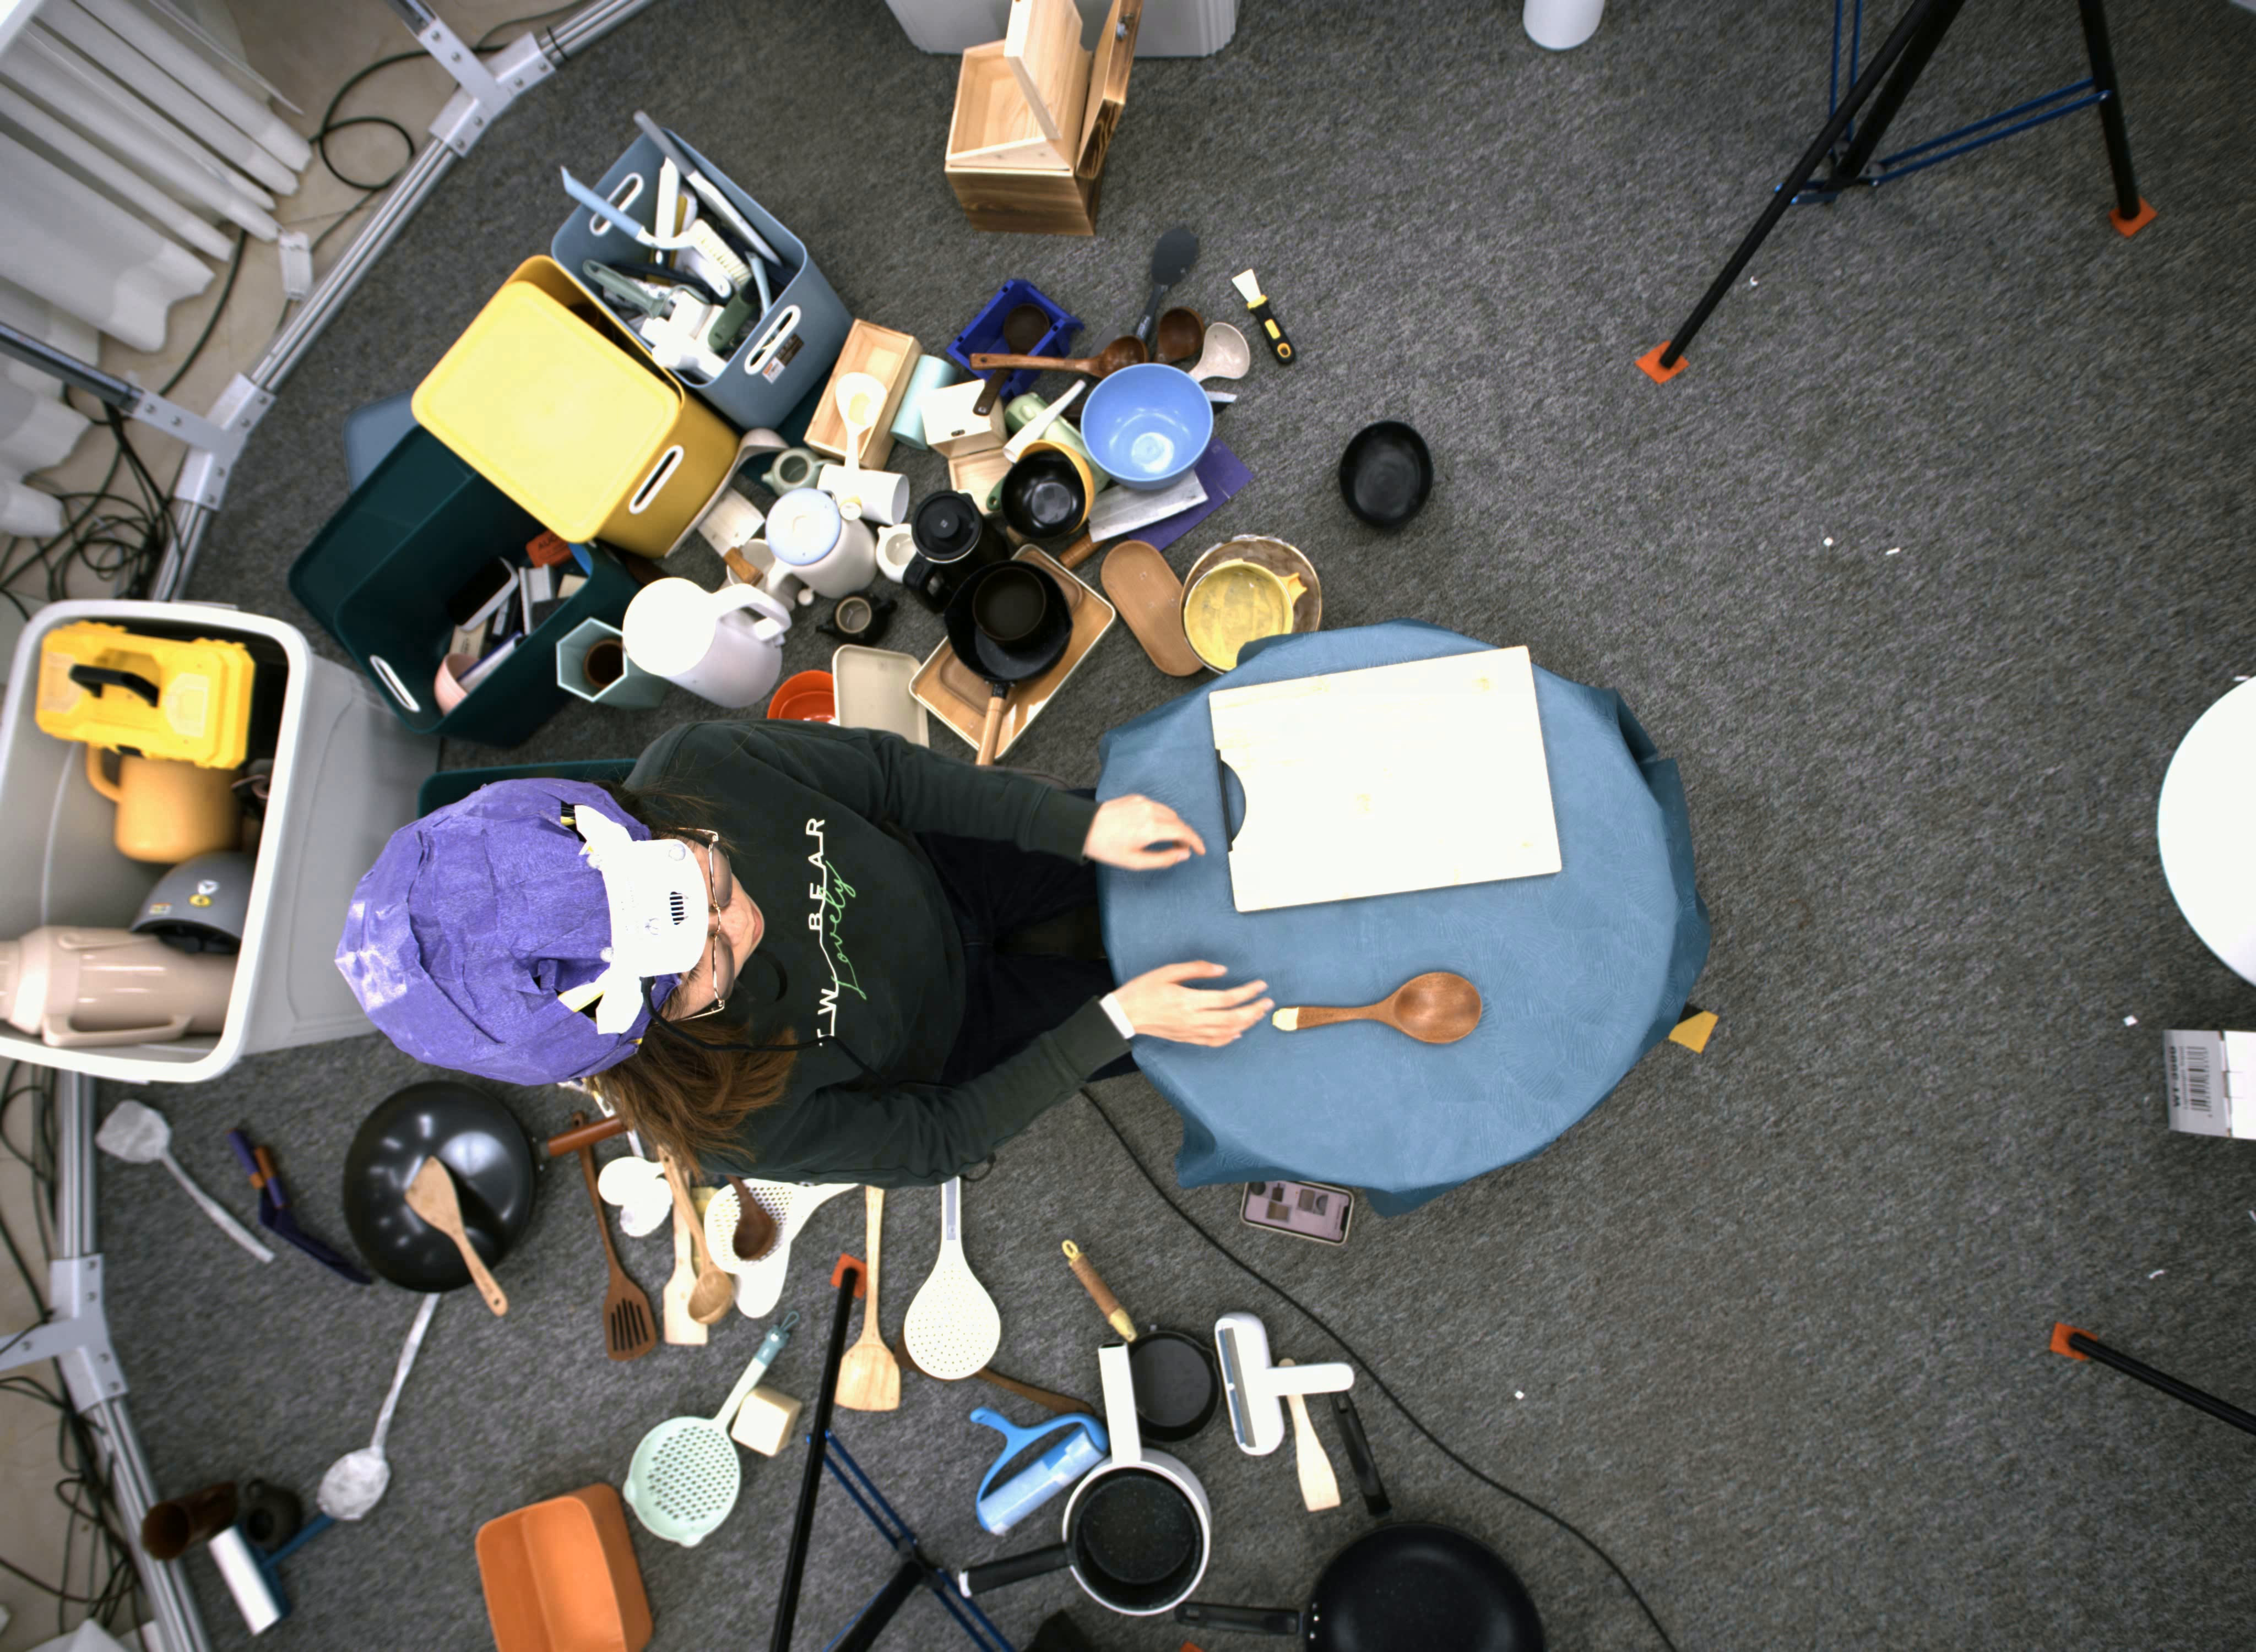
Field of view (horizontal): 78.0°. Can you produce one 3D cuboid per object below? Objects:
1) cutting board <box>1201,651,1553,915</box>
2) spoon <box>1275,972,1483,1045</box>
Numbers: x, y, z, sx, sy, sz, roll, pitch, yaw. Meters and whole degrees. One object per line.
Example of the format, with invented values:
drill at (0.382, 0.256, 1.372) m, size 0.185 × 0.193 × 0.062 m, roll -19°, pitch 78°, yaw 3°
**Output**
cutting board at (0.264, -0.046, 1.466) m, size 0.350 × 0.023 × 0.249 m, roll -9°, pitch 84°, yaw 10°
spoon at (0.261, 0.195, 1.449) m, size 0.217 × 0.017 × 0.075 m, roll -6°, pitch 87°, yaw 9°
